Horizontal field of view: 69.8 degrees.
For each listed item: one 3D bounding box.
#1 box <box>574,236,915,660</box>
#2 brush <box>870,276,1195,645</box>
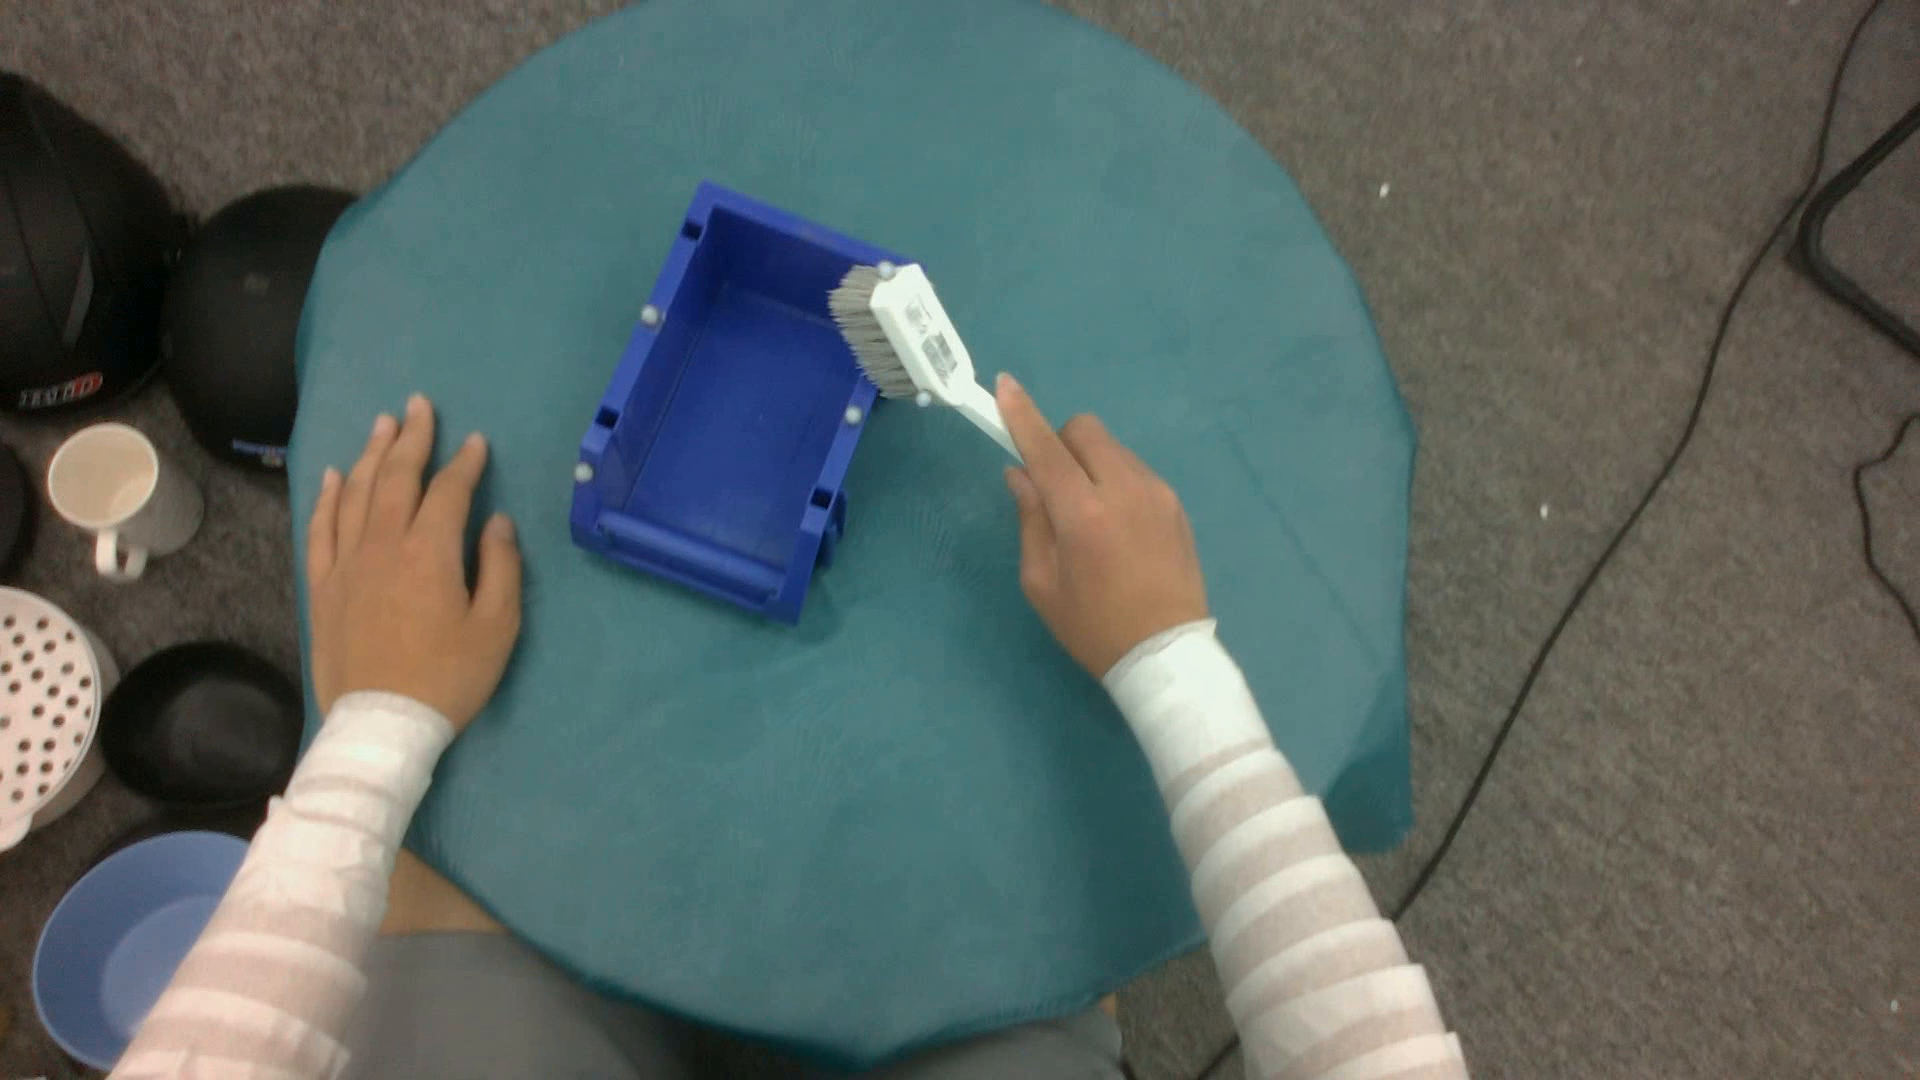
[{"bbox_3d":[-0.106,-0.044,0.714,0.124,0.081,0.180,21,69,0],"label":"box"},{"bbox_3d":[0.038,-0.035,0.707,0.243,0.050,0.034,52,47,-18],"label":"brush"}]
